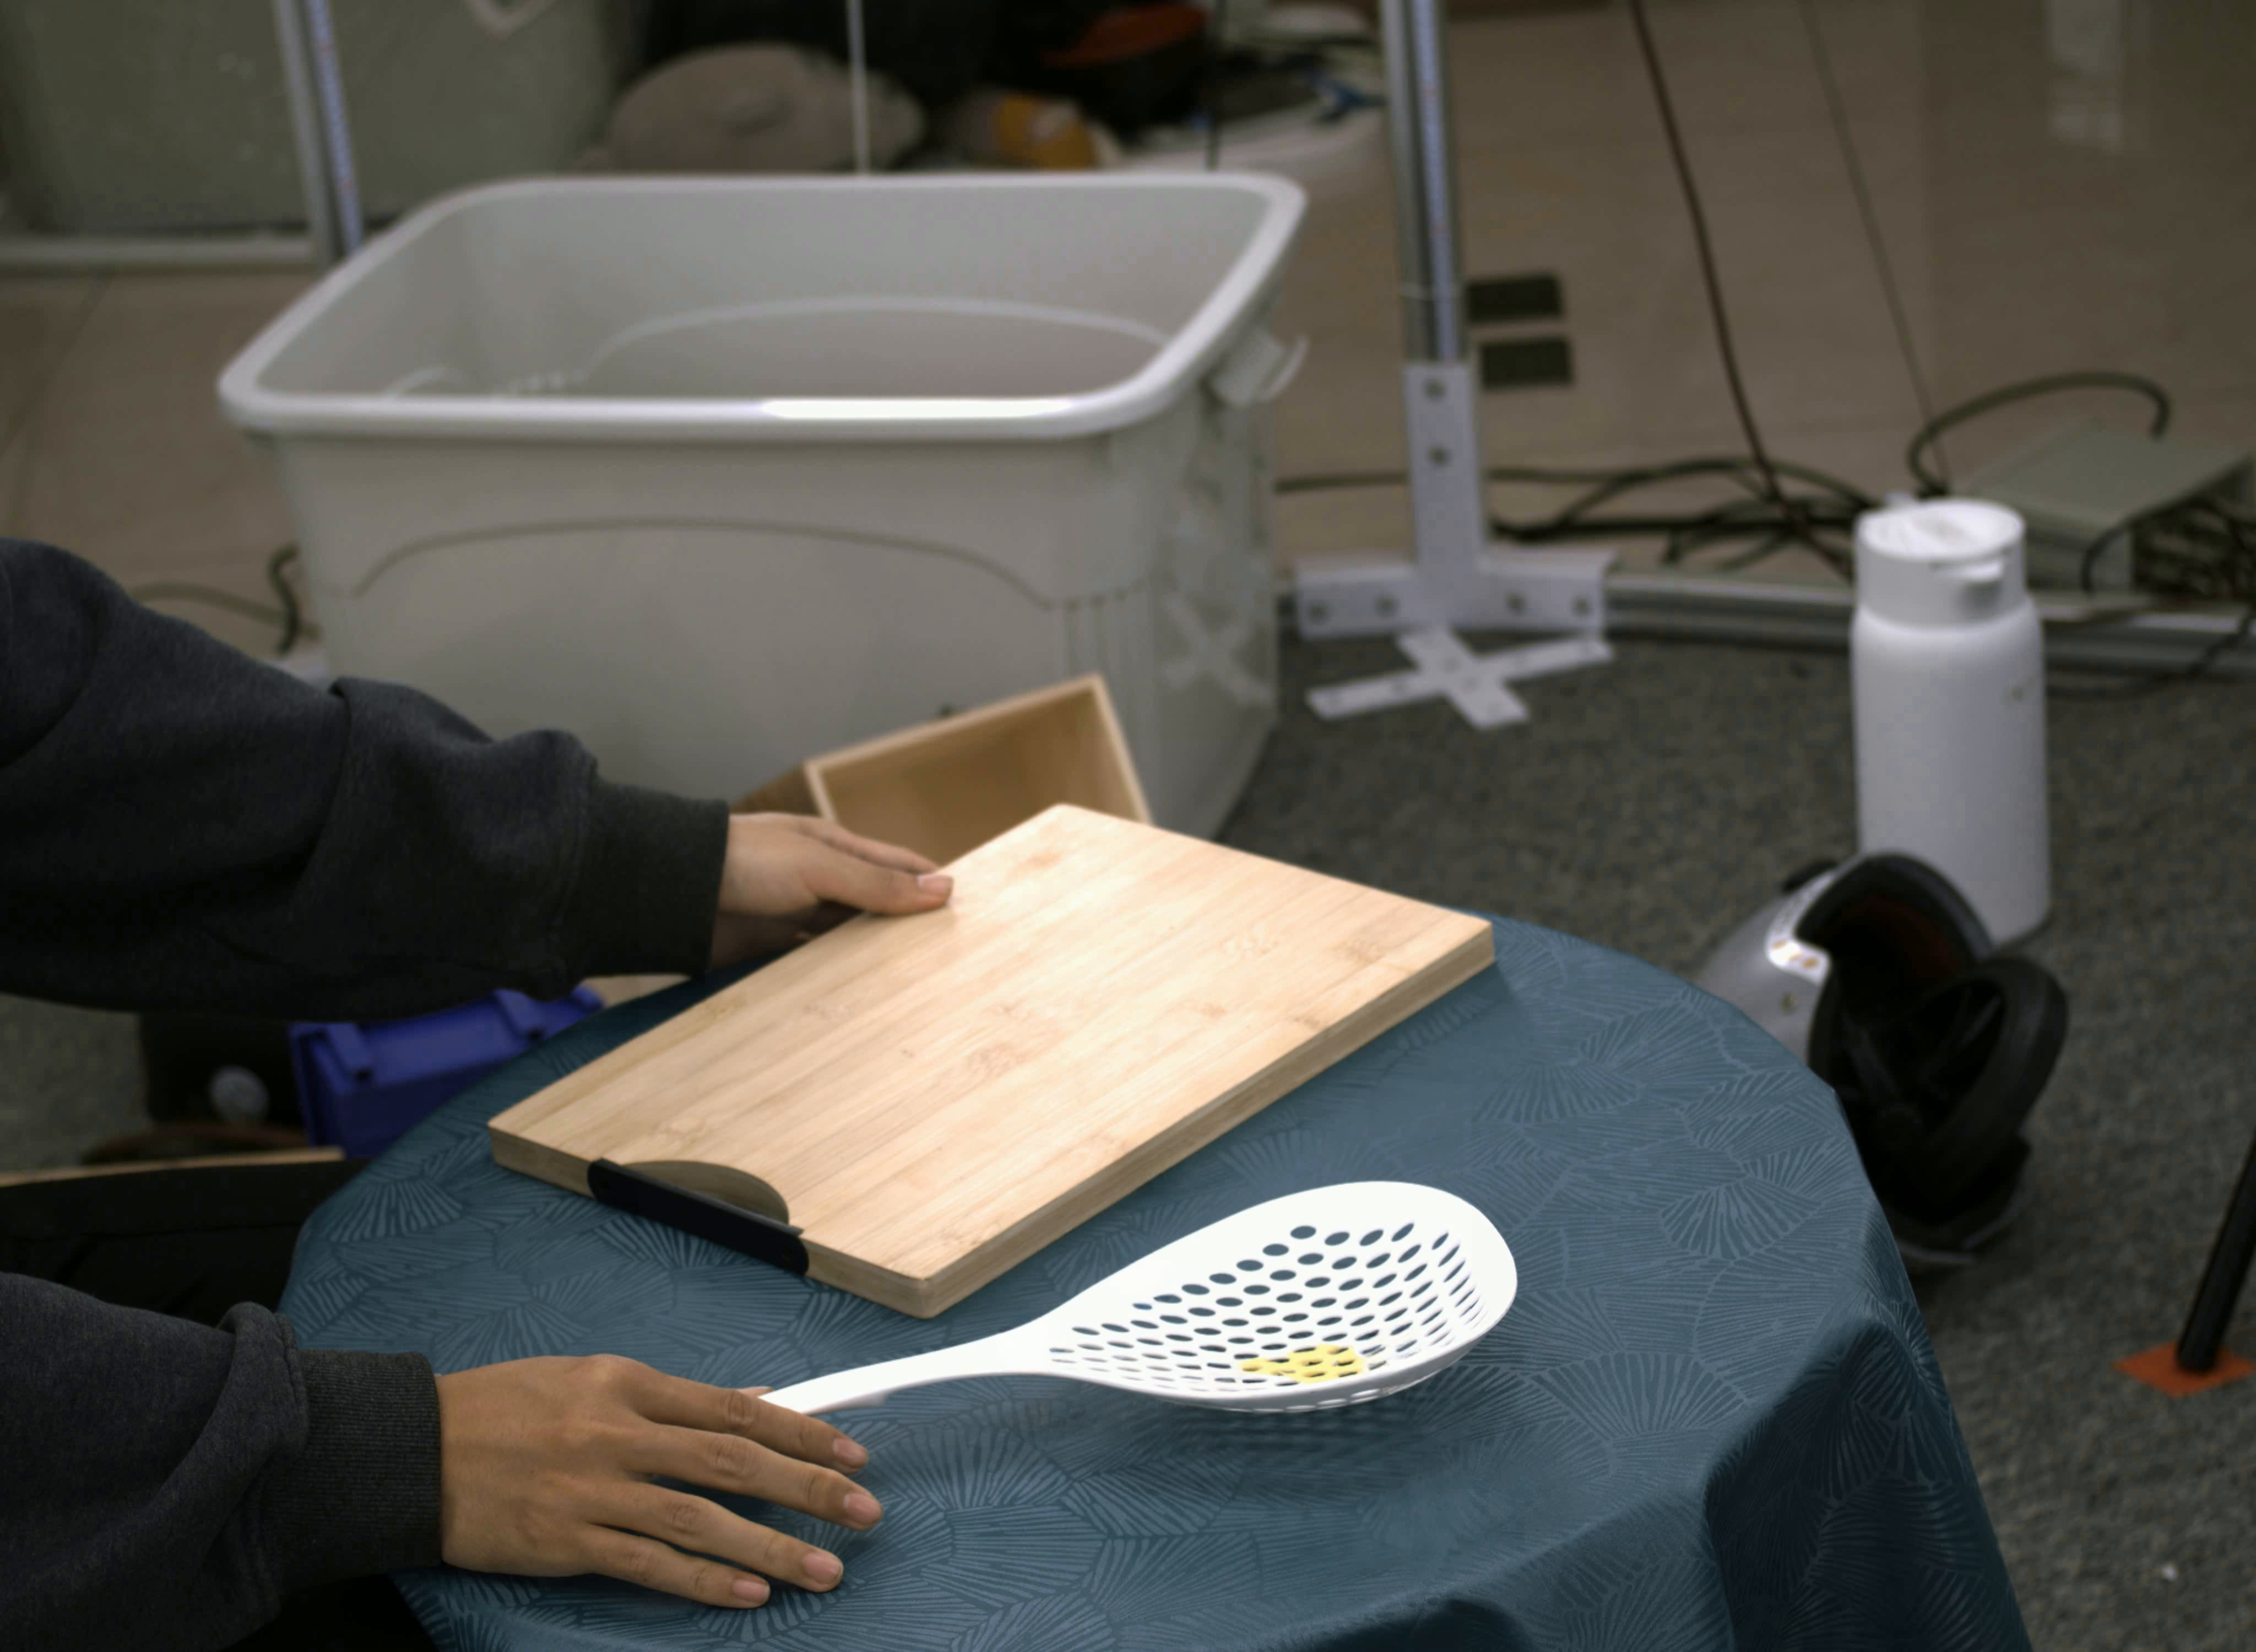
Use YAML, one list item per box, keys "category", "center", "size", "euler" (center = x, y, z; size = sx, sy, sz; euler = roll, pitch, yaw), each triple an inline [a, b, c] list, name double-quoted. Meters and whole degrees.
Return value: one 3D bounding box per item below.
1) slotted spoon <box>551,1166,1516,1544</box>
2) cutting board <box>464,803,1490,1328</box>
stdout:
- category: "slotted spoon"
  center: [-0.034, 0.194, 1.989]
  size: [0.347, 0.051, 0.135]
  euler: [-10, 27, -7]
- category: "cutting board"
  center: [-0.055, 0.088, 2.251]
  size: [0.249, 0.024, 0.345]
  euler: [15, 32, 39]
